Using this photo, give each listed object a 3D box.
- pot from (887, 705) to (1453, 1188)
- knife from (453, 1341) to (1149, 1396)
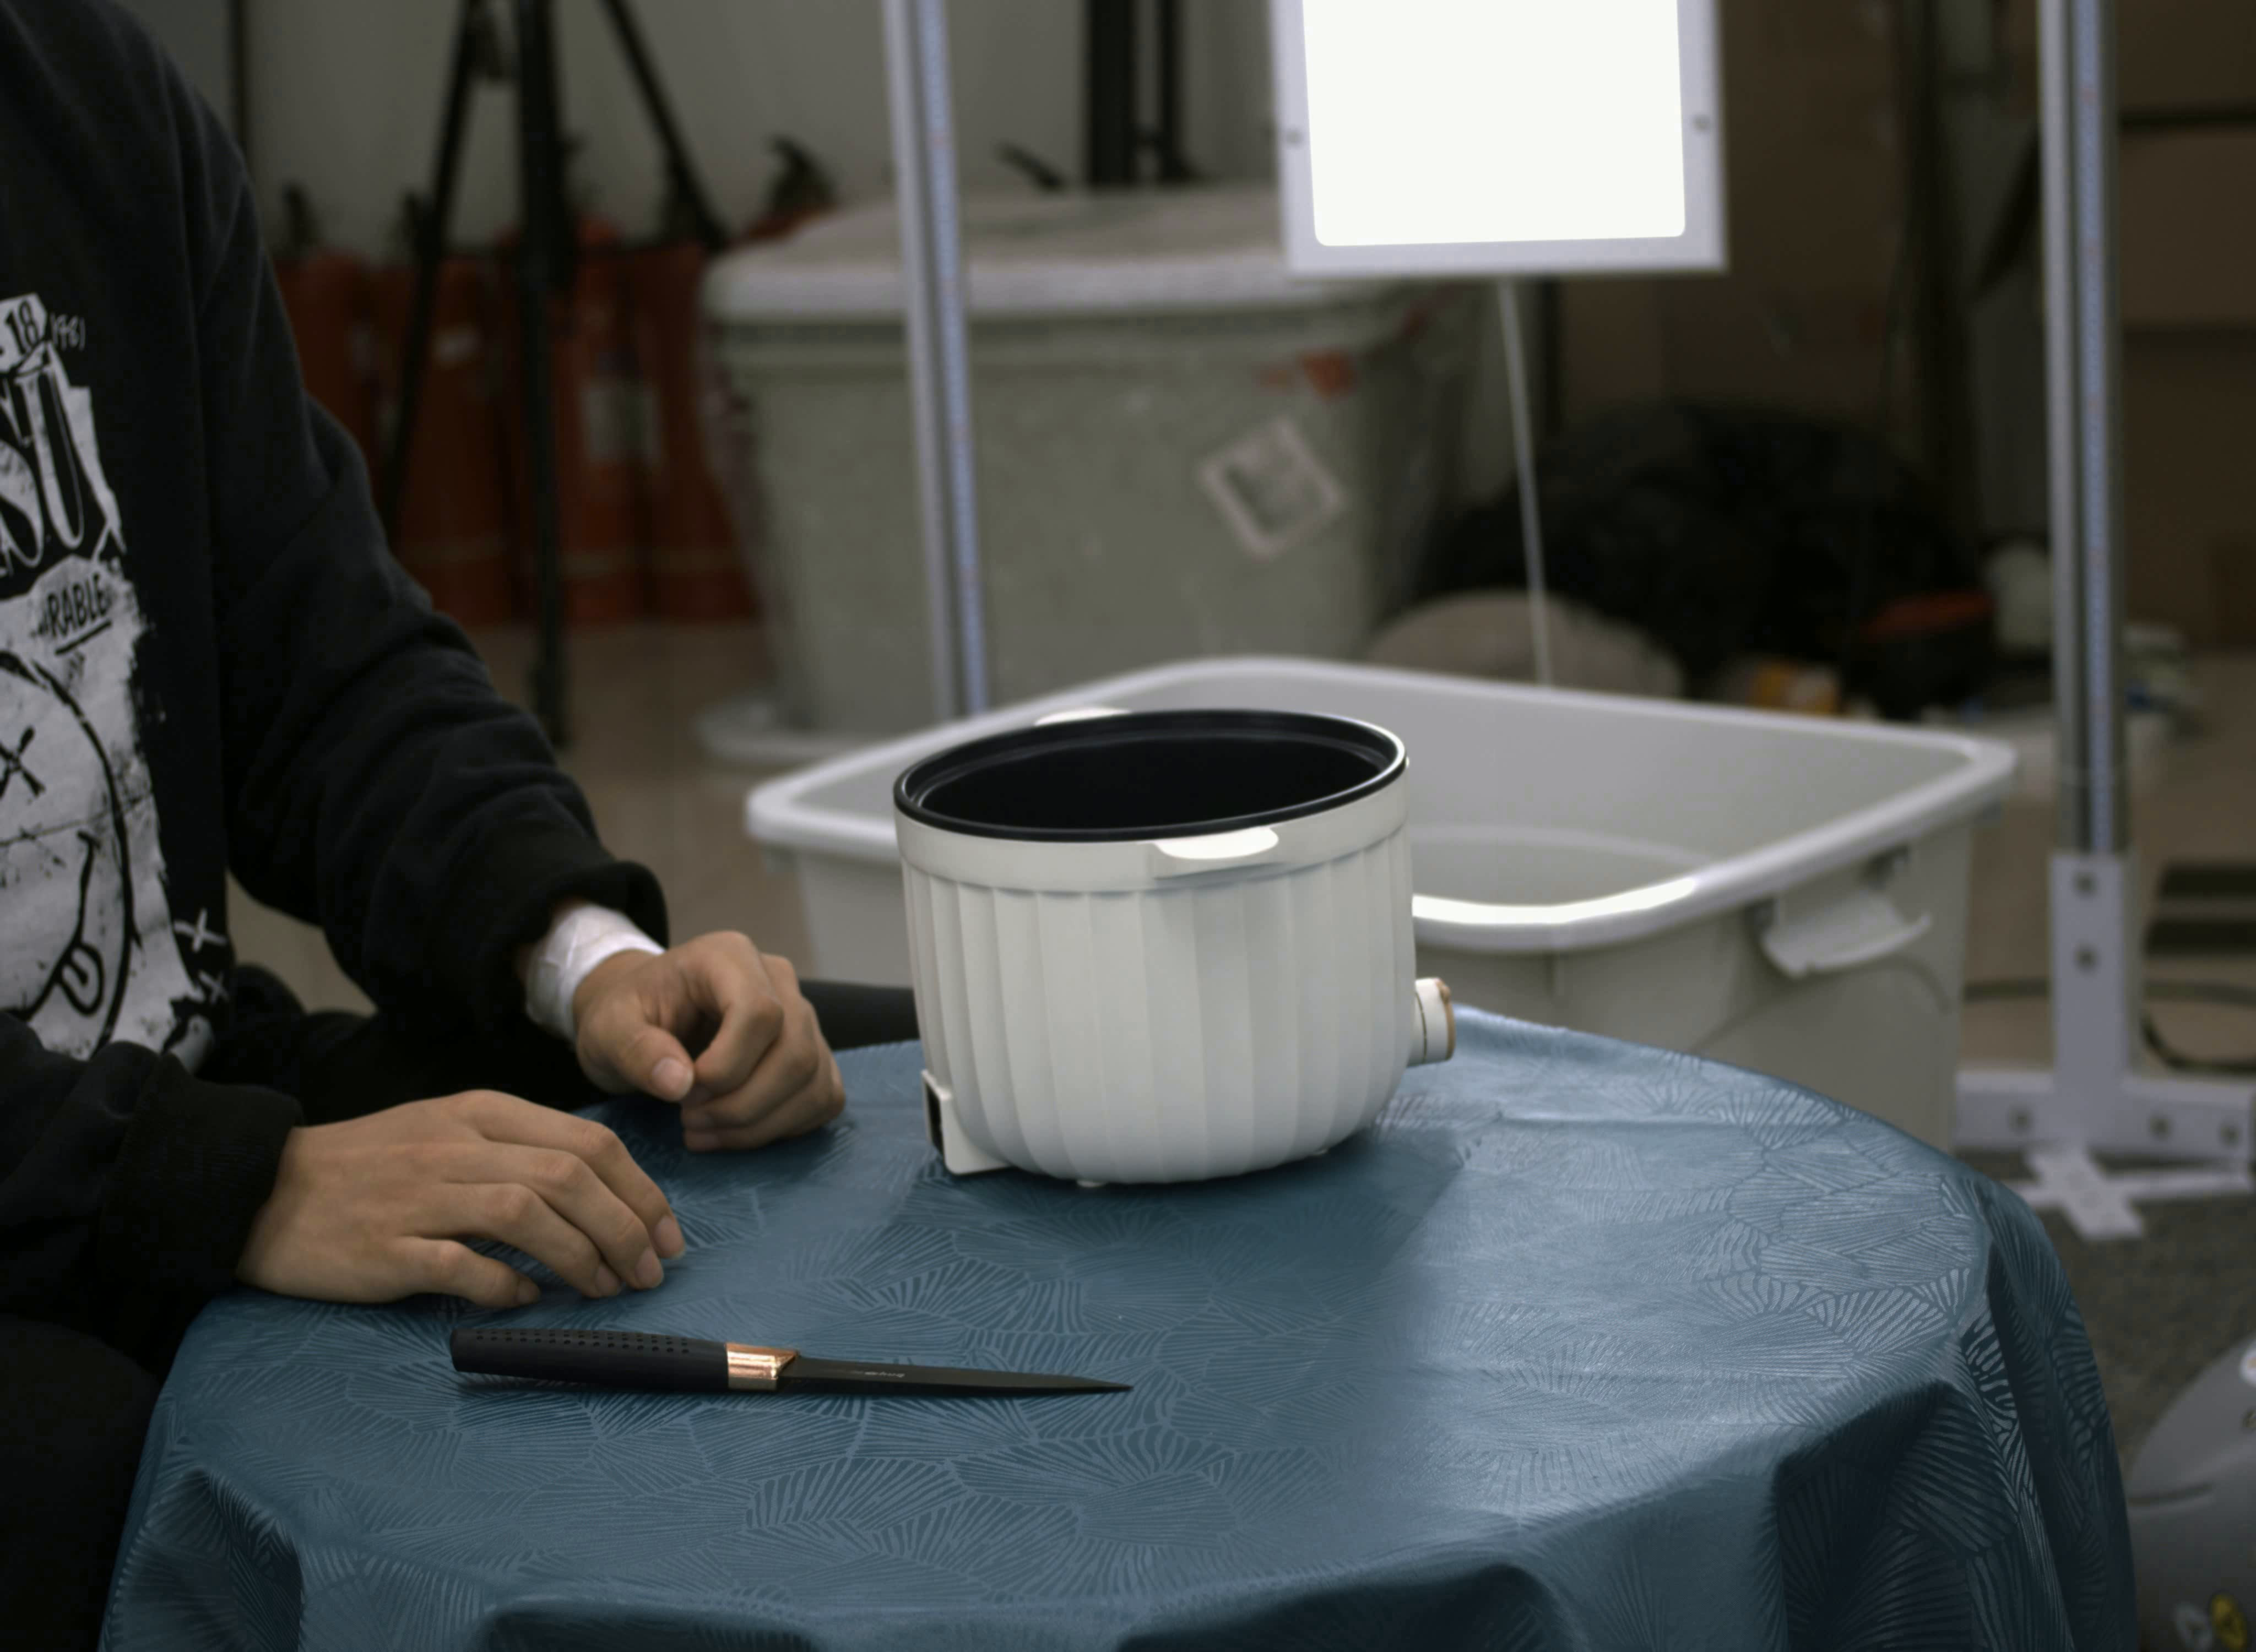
[{"bbox_3d":[0.016,0.043,1.943,0.188,0.143,0.242,-11,16,-11],"label":"pot"},{"bbox_3d":[-0.104,0.172,1.736,0.228,0.017,0.026,0,-1,16],"label":"knife"}]
